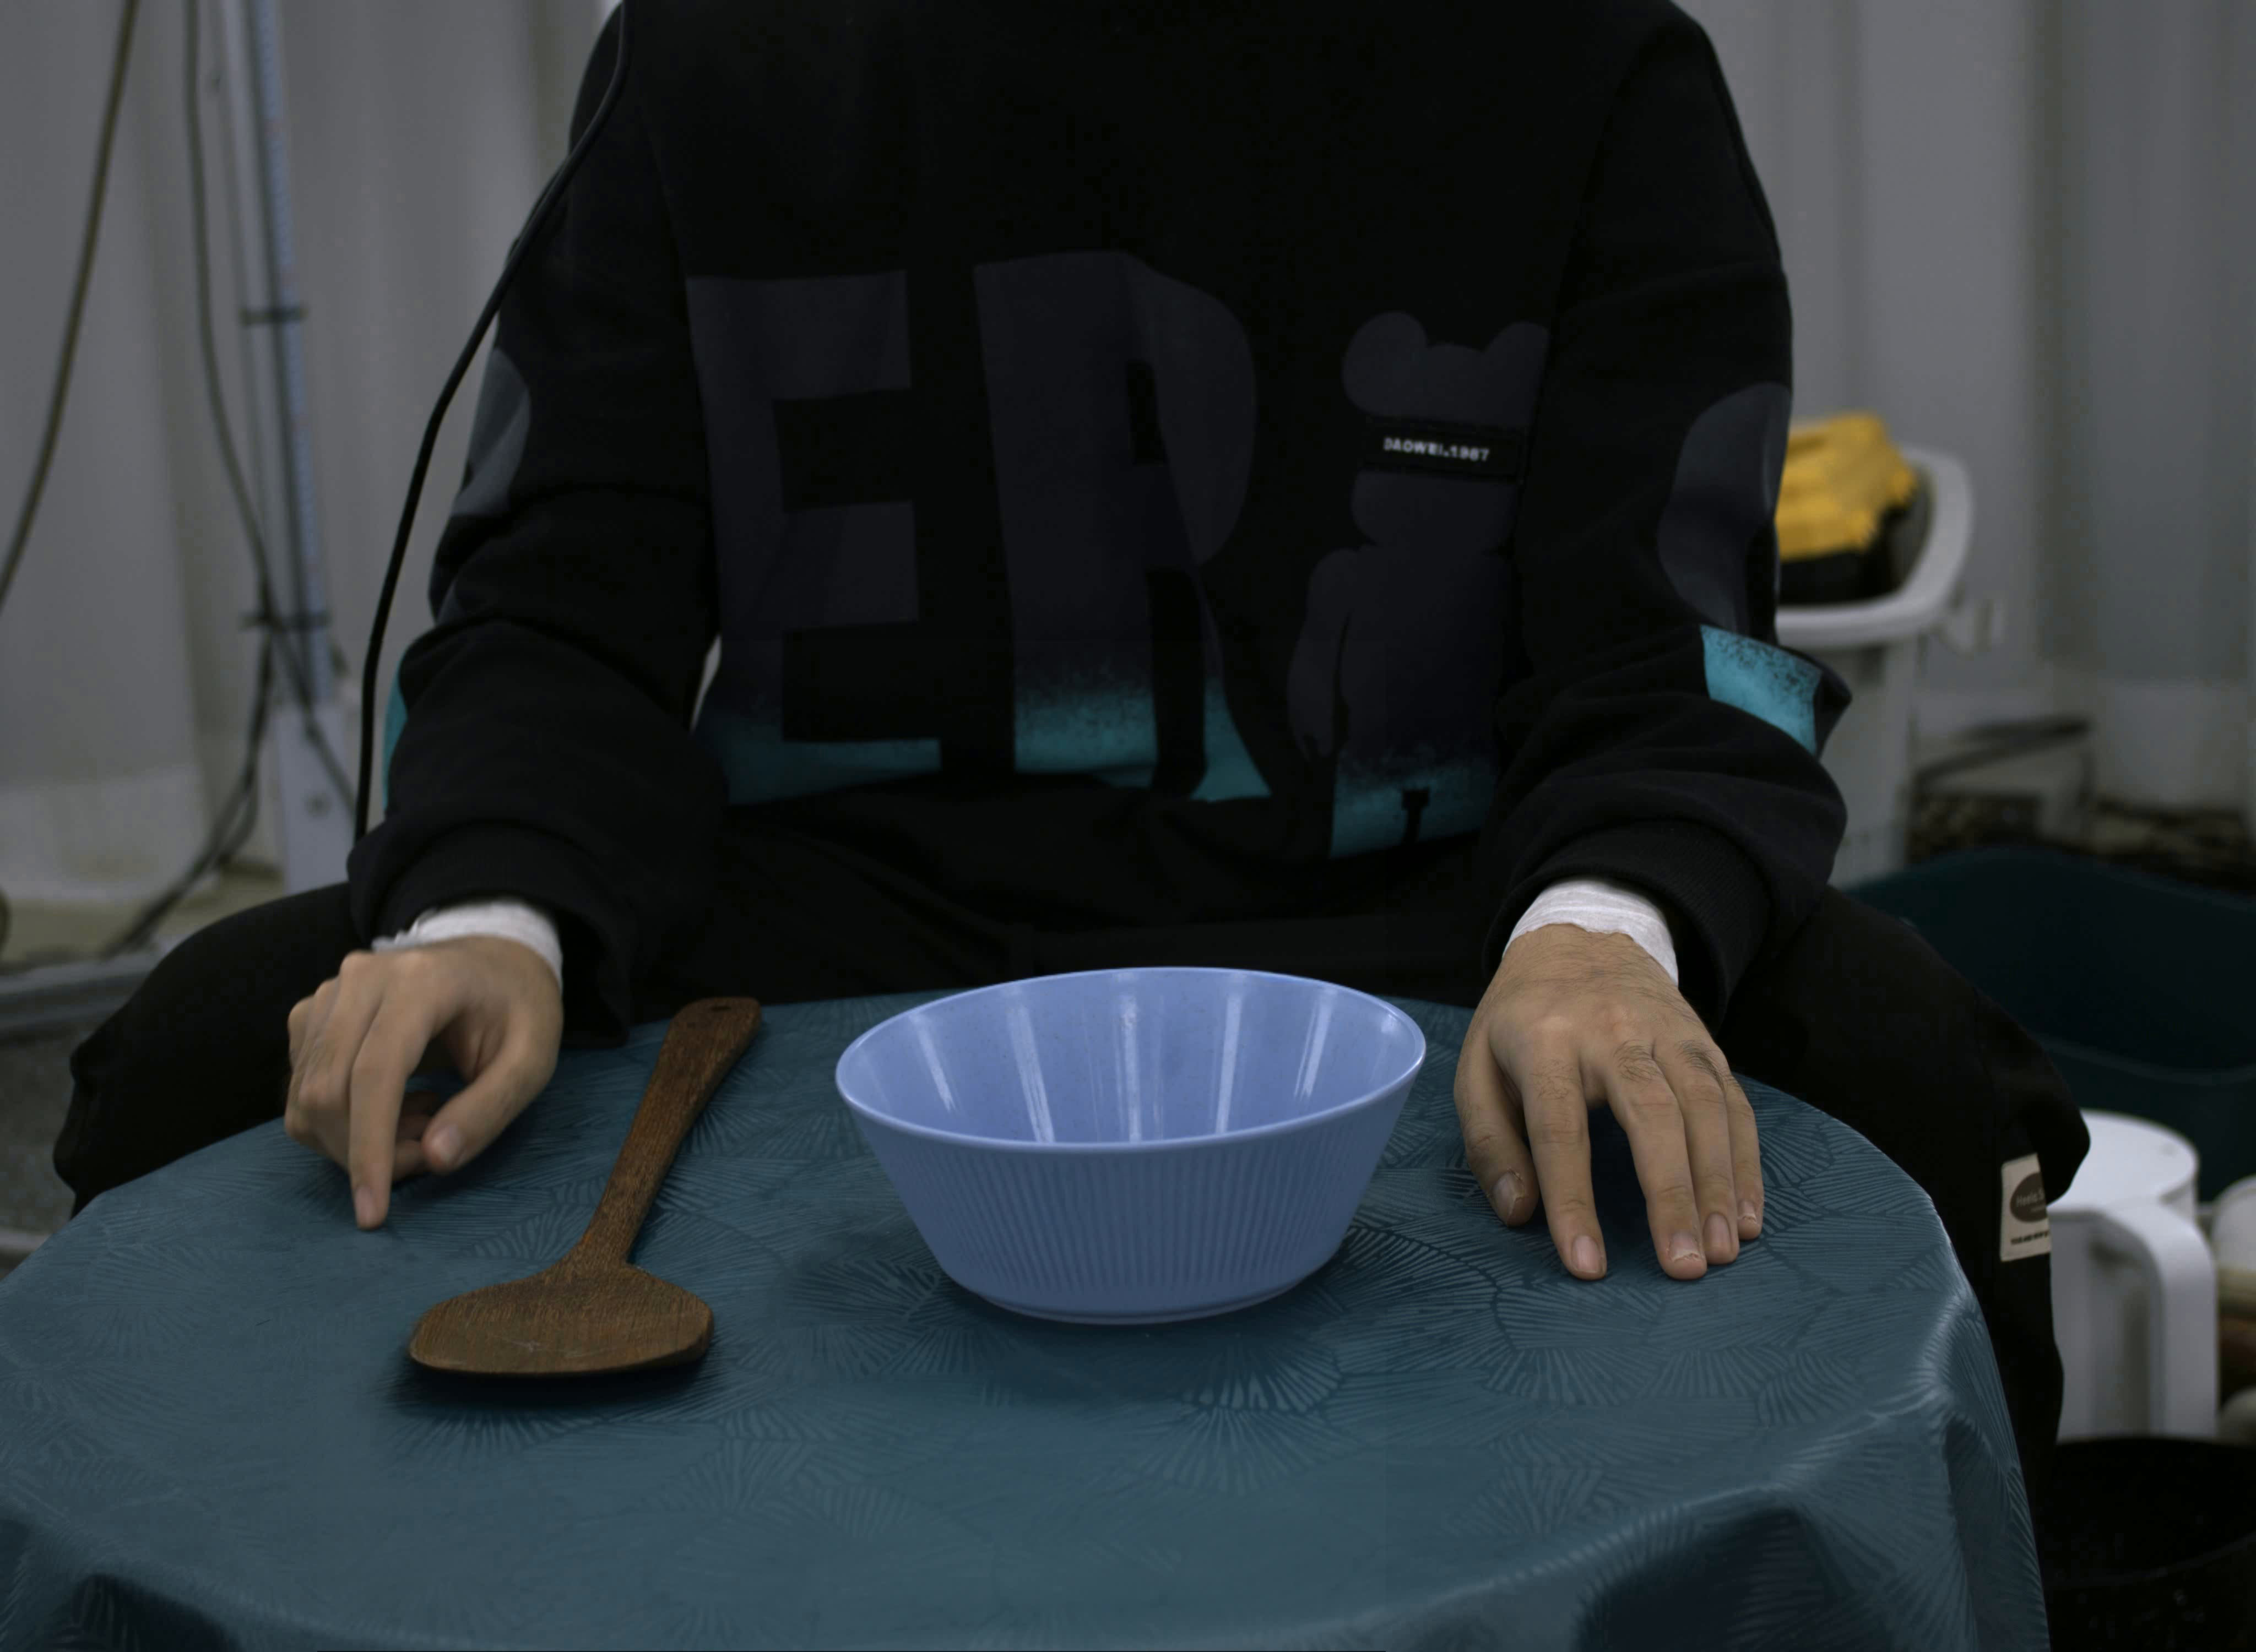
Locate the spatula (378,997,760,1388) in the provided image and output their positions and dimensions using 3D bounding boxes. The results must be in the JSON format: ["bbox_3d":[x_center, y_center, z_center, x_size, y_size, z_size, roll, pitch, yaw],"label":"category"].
[{"bbox_3d":[-0.156,0.110,1.735,0.096,0.016,0.388,-1,15,5],"label":"spatula"}]

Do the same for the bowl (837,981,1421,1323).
[{"bbox_3d":[0.001,0.100,1.638,0.175,0.070,0.177,-2,13,0],"label":"bowl"}]
